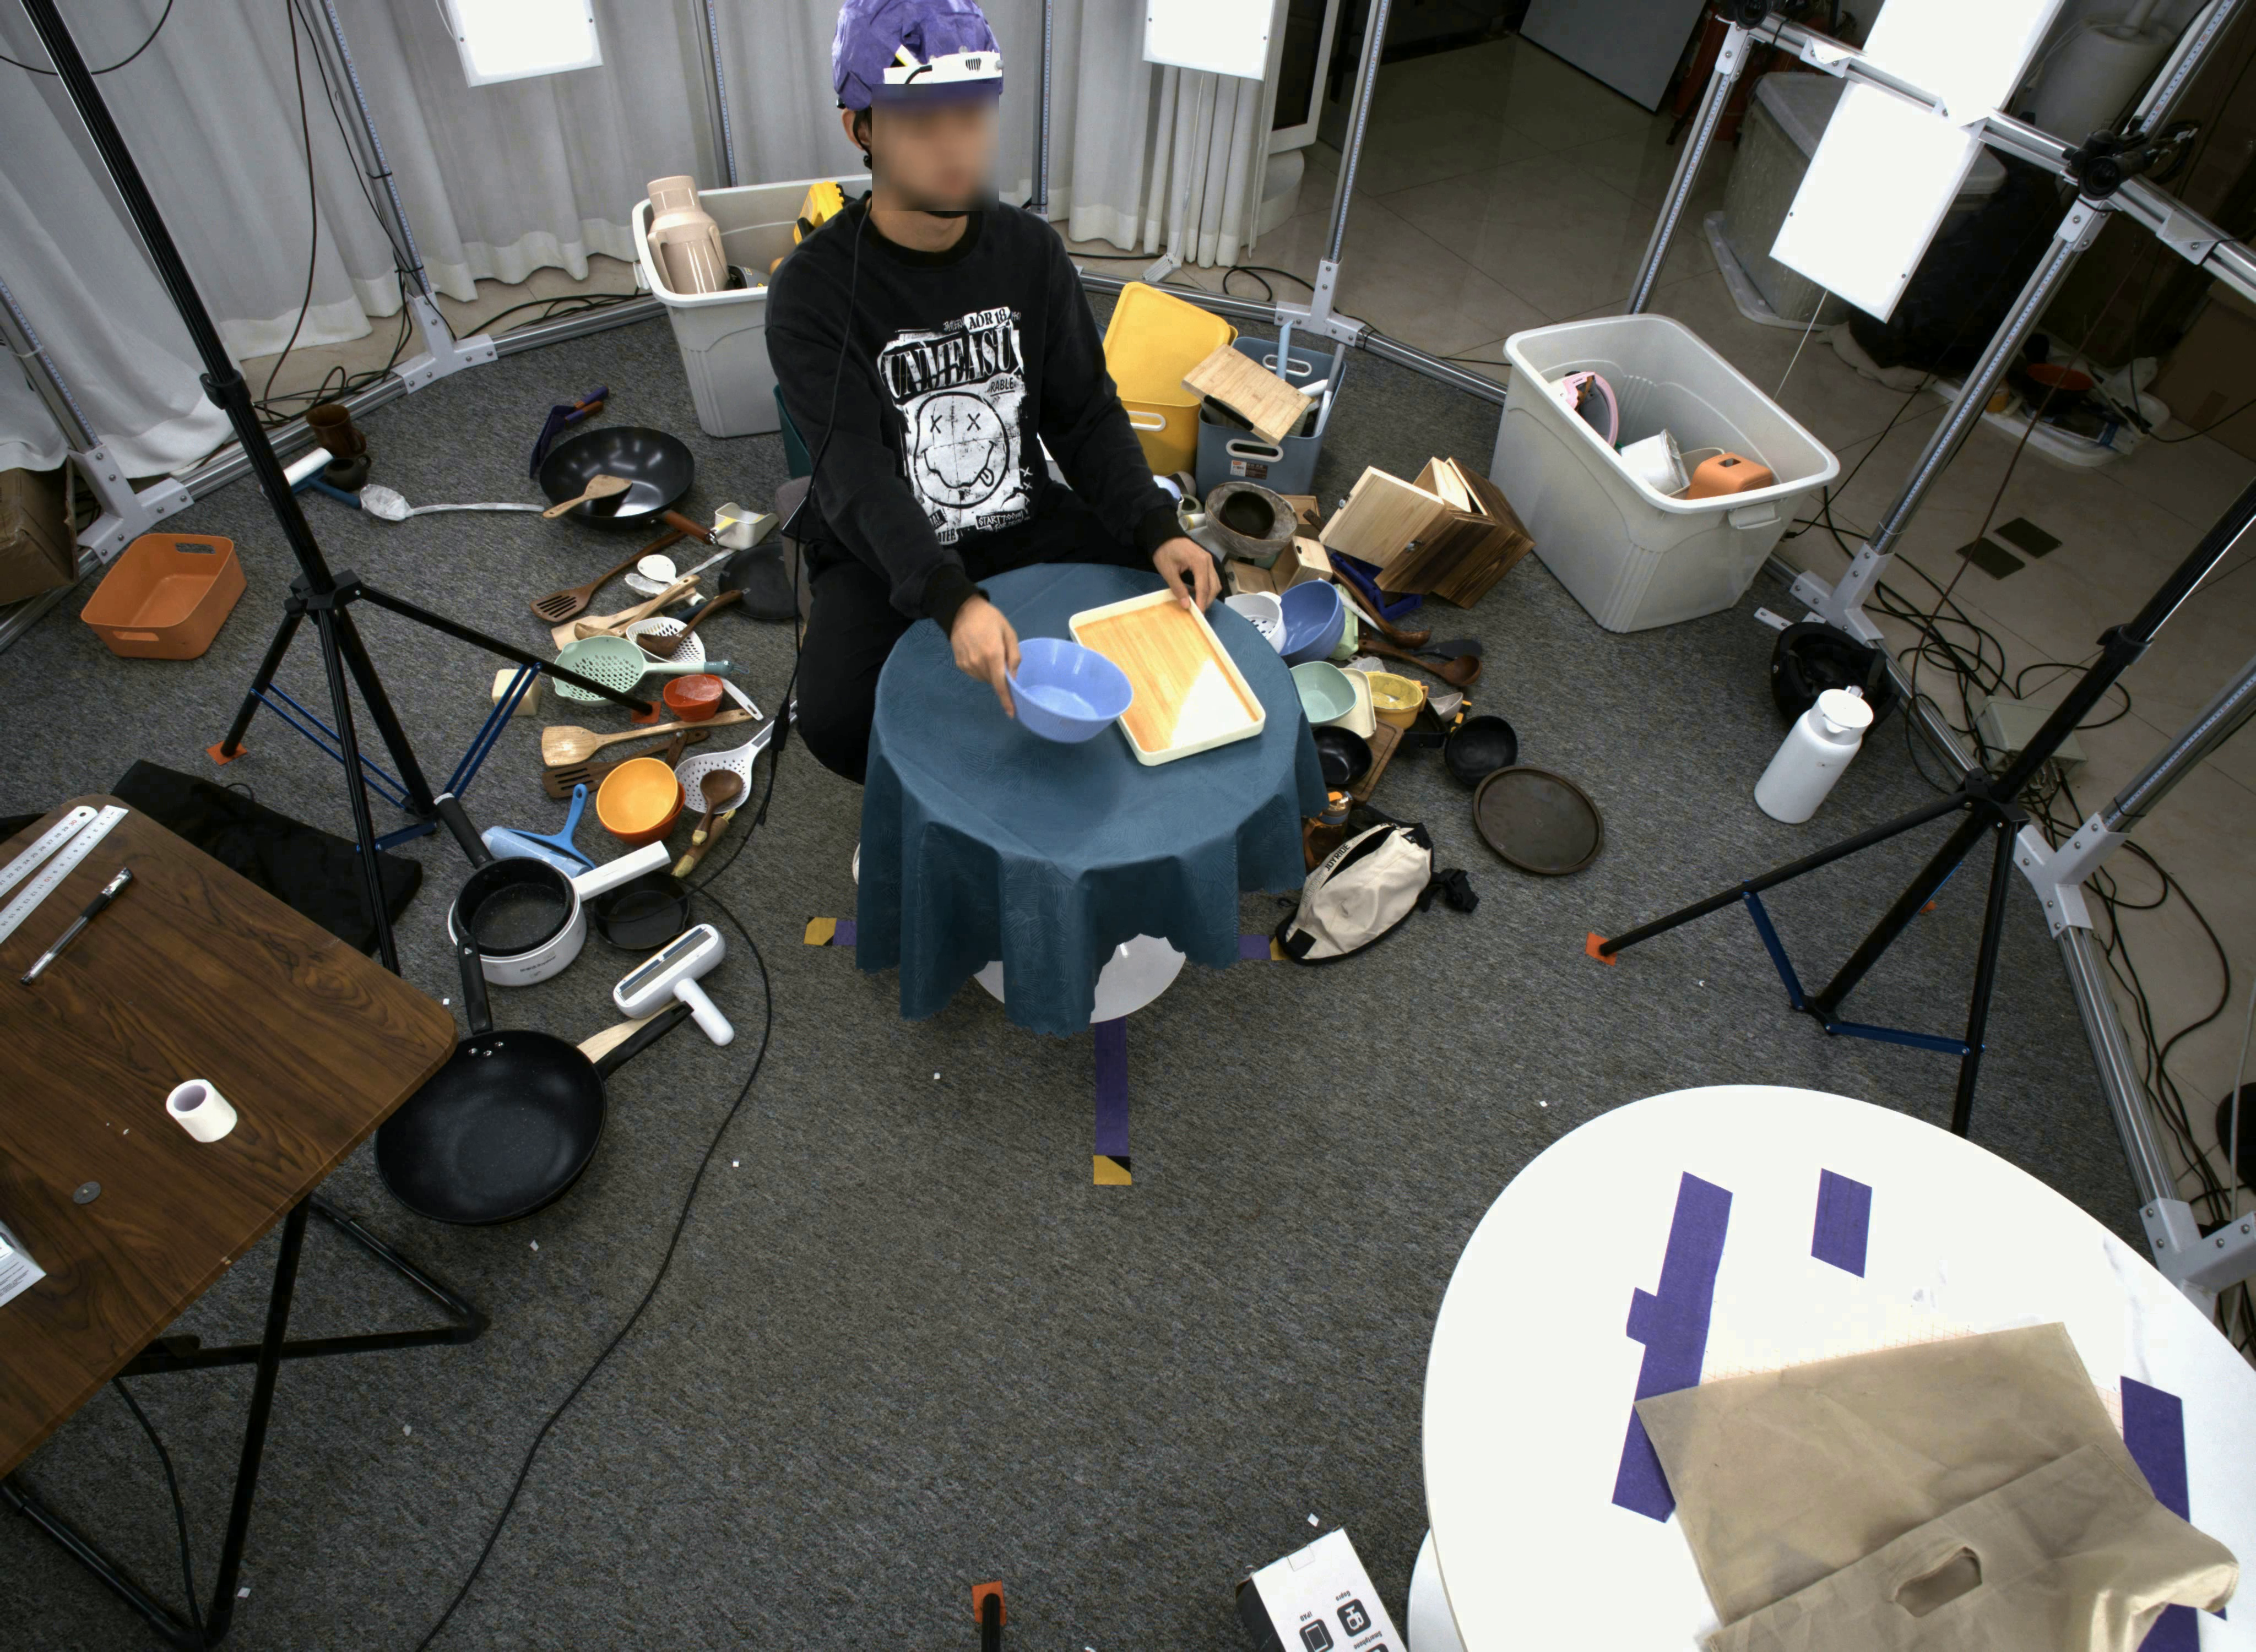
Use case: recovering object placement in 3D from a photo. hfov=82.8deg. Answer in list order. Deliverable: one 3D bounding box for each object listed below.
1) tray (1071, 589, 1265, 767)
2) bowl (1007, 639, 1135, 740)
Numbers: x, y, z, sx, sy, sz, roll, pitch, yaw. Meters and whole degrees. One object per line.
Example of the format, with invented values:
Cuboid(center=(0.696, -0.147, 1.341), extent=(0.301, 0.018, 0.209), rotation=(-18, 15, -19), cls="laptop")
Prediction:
Cuboid(center=(0.053, -0.220, 1.854), extent=(0.192, 0.027, 0.307), rotation=(-18, 53, -13), cls="tray")
Cuboid(center=(-0.084, -0.174, 1.706), extent=(0.175, 0.069, 0.180), rotation=(15, 35, -11), cls="bowl")
